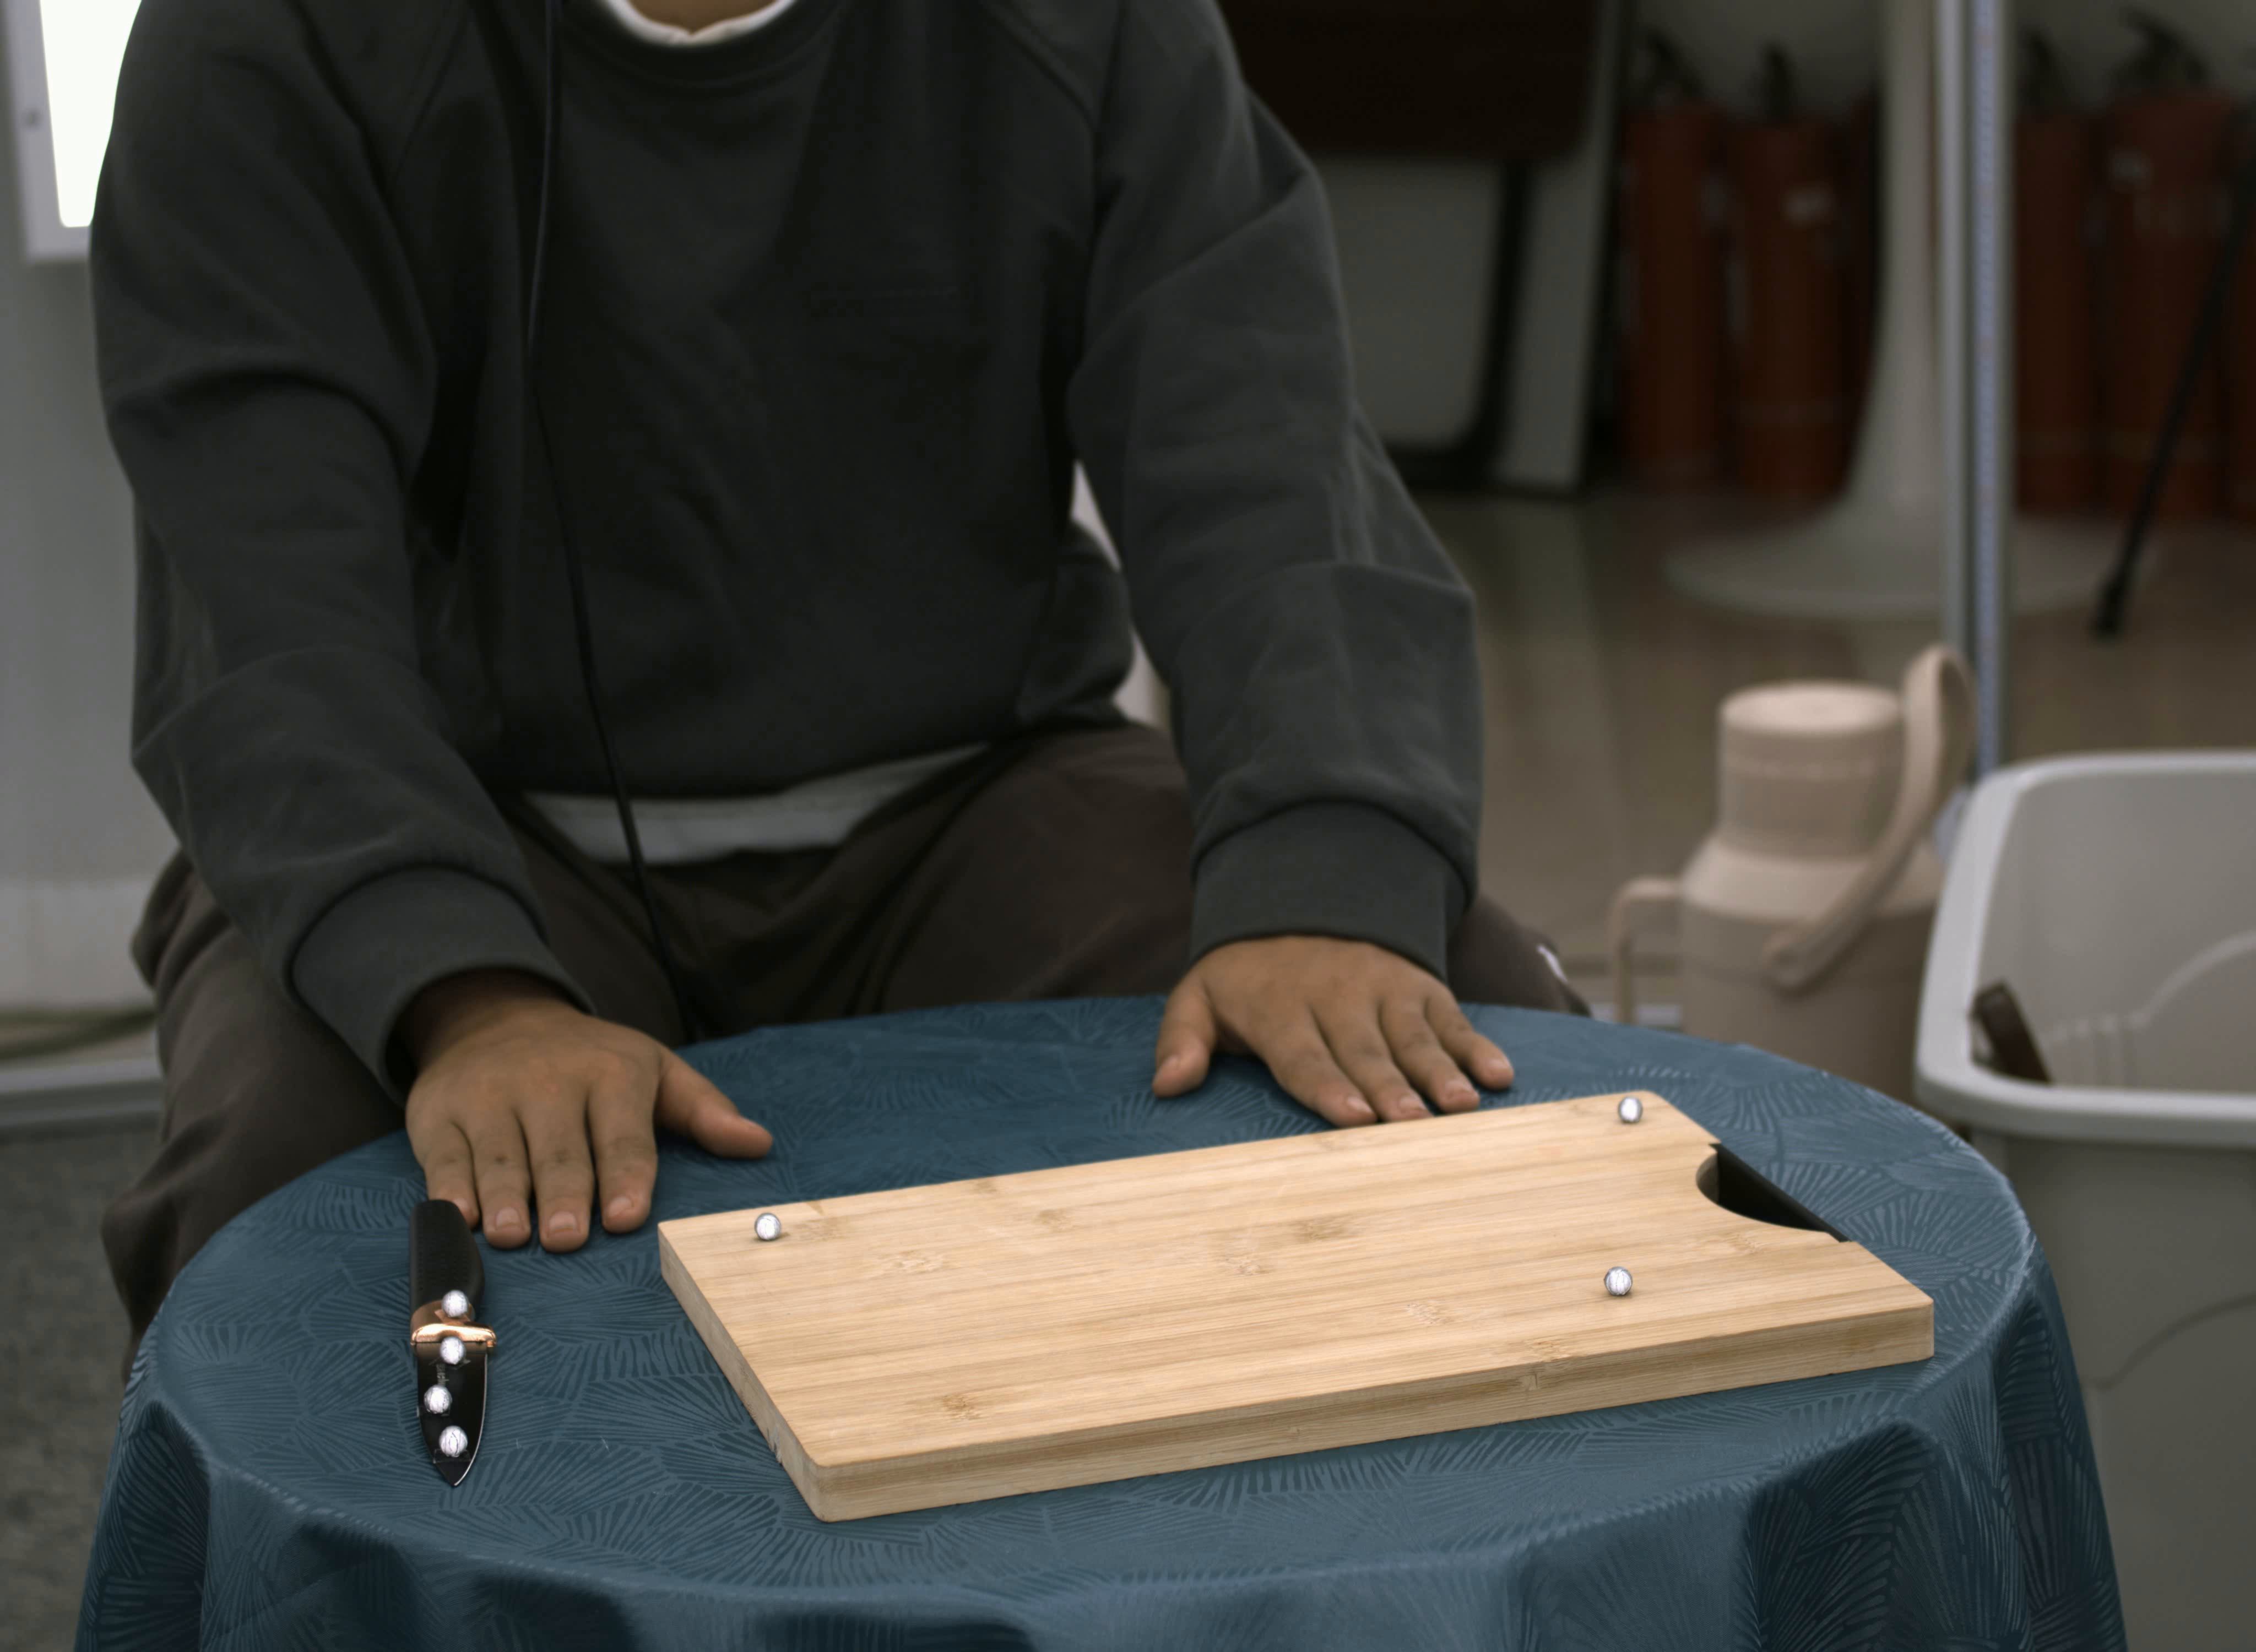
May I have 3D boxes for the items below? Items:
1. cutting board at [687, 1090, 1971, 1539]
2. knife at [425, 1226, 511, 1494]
[{"bbox_3d":[0.050,0.142,1.642,0.342,0.024,0.252,-8,14,-14],"label":"cutting board"},{"bbox_3d":[-0.200,0.162,1.646,0.026,0.017,0.226,0,14,-8],"label":"knife"}]
